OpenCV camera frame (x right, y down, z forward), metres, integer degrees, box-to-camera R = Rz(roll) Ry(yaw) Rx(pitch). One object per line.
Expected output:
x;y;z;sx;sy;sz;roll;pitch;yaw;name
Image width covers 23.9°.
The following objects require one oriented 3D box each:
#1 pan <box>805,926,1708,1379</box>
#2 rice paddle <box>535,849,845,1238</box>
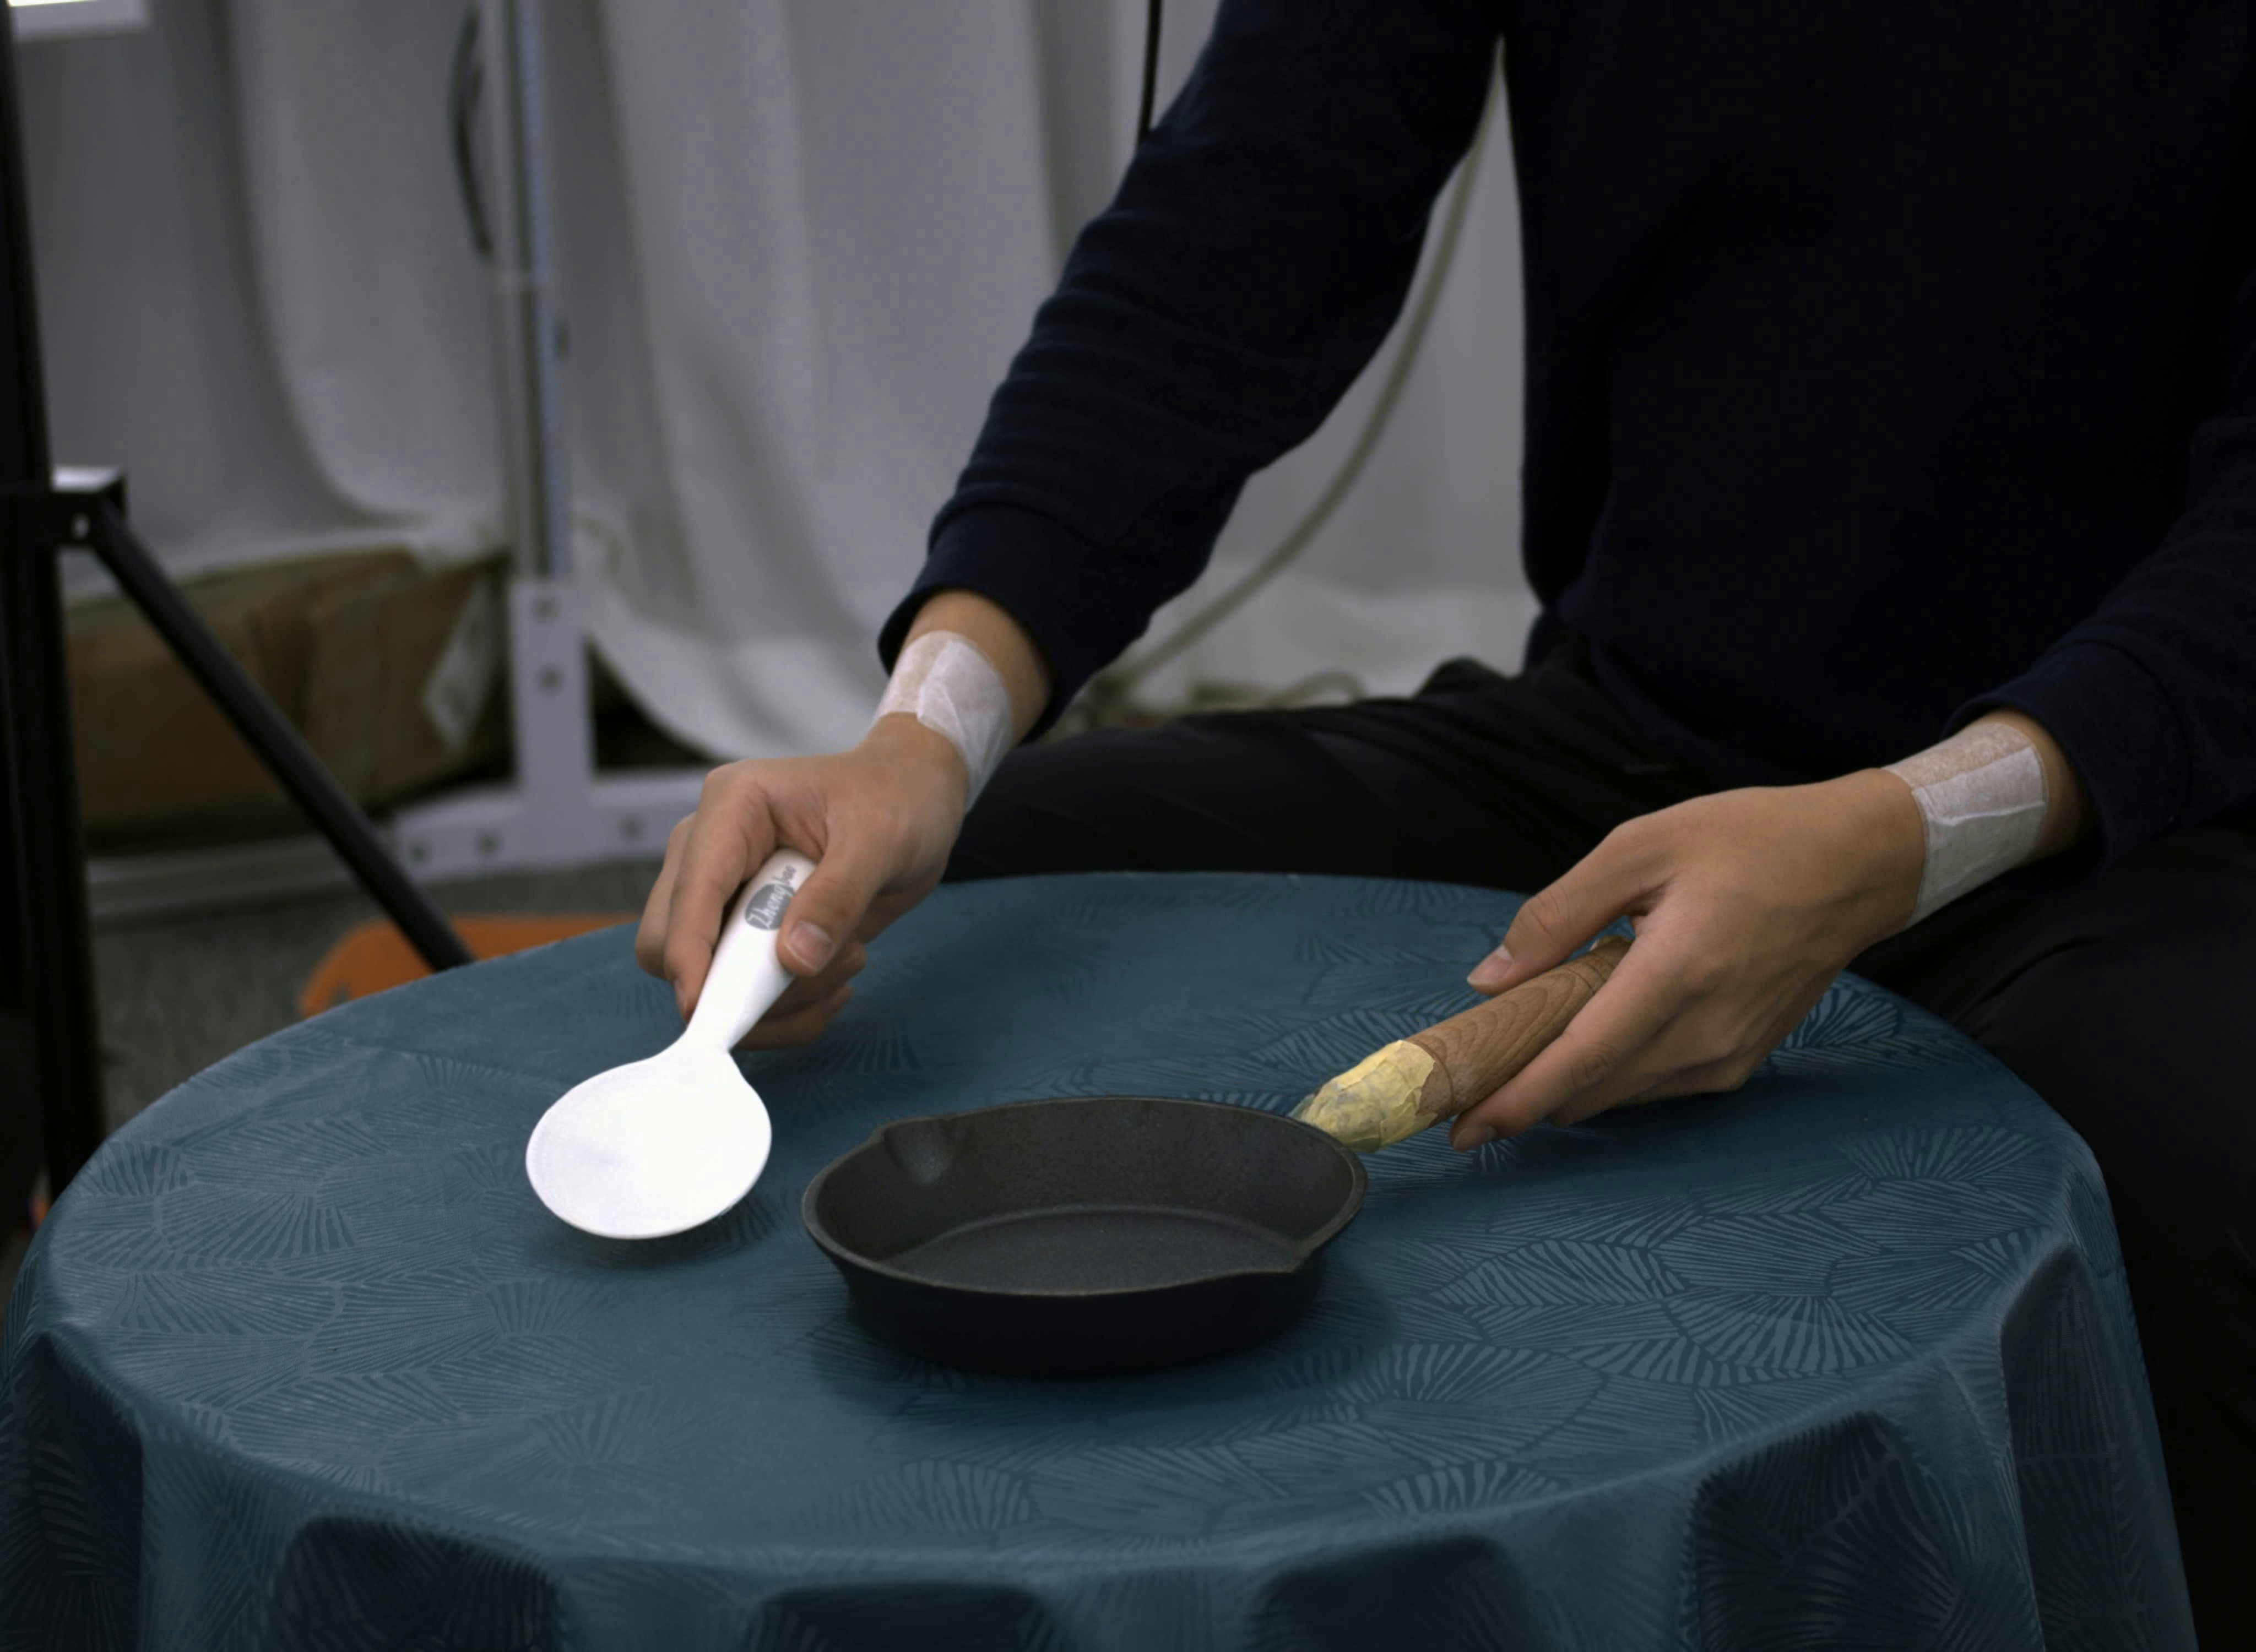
0.053;0.089;1.518;0.317;0.049;0.173;-17;21;-35;pan
-0.124;0.067;1.600;0.069;0.029;0.205;9;29;9;rice paddle
